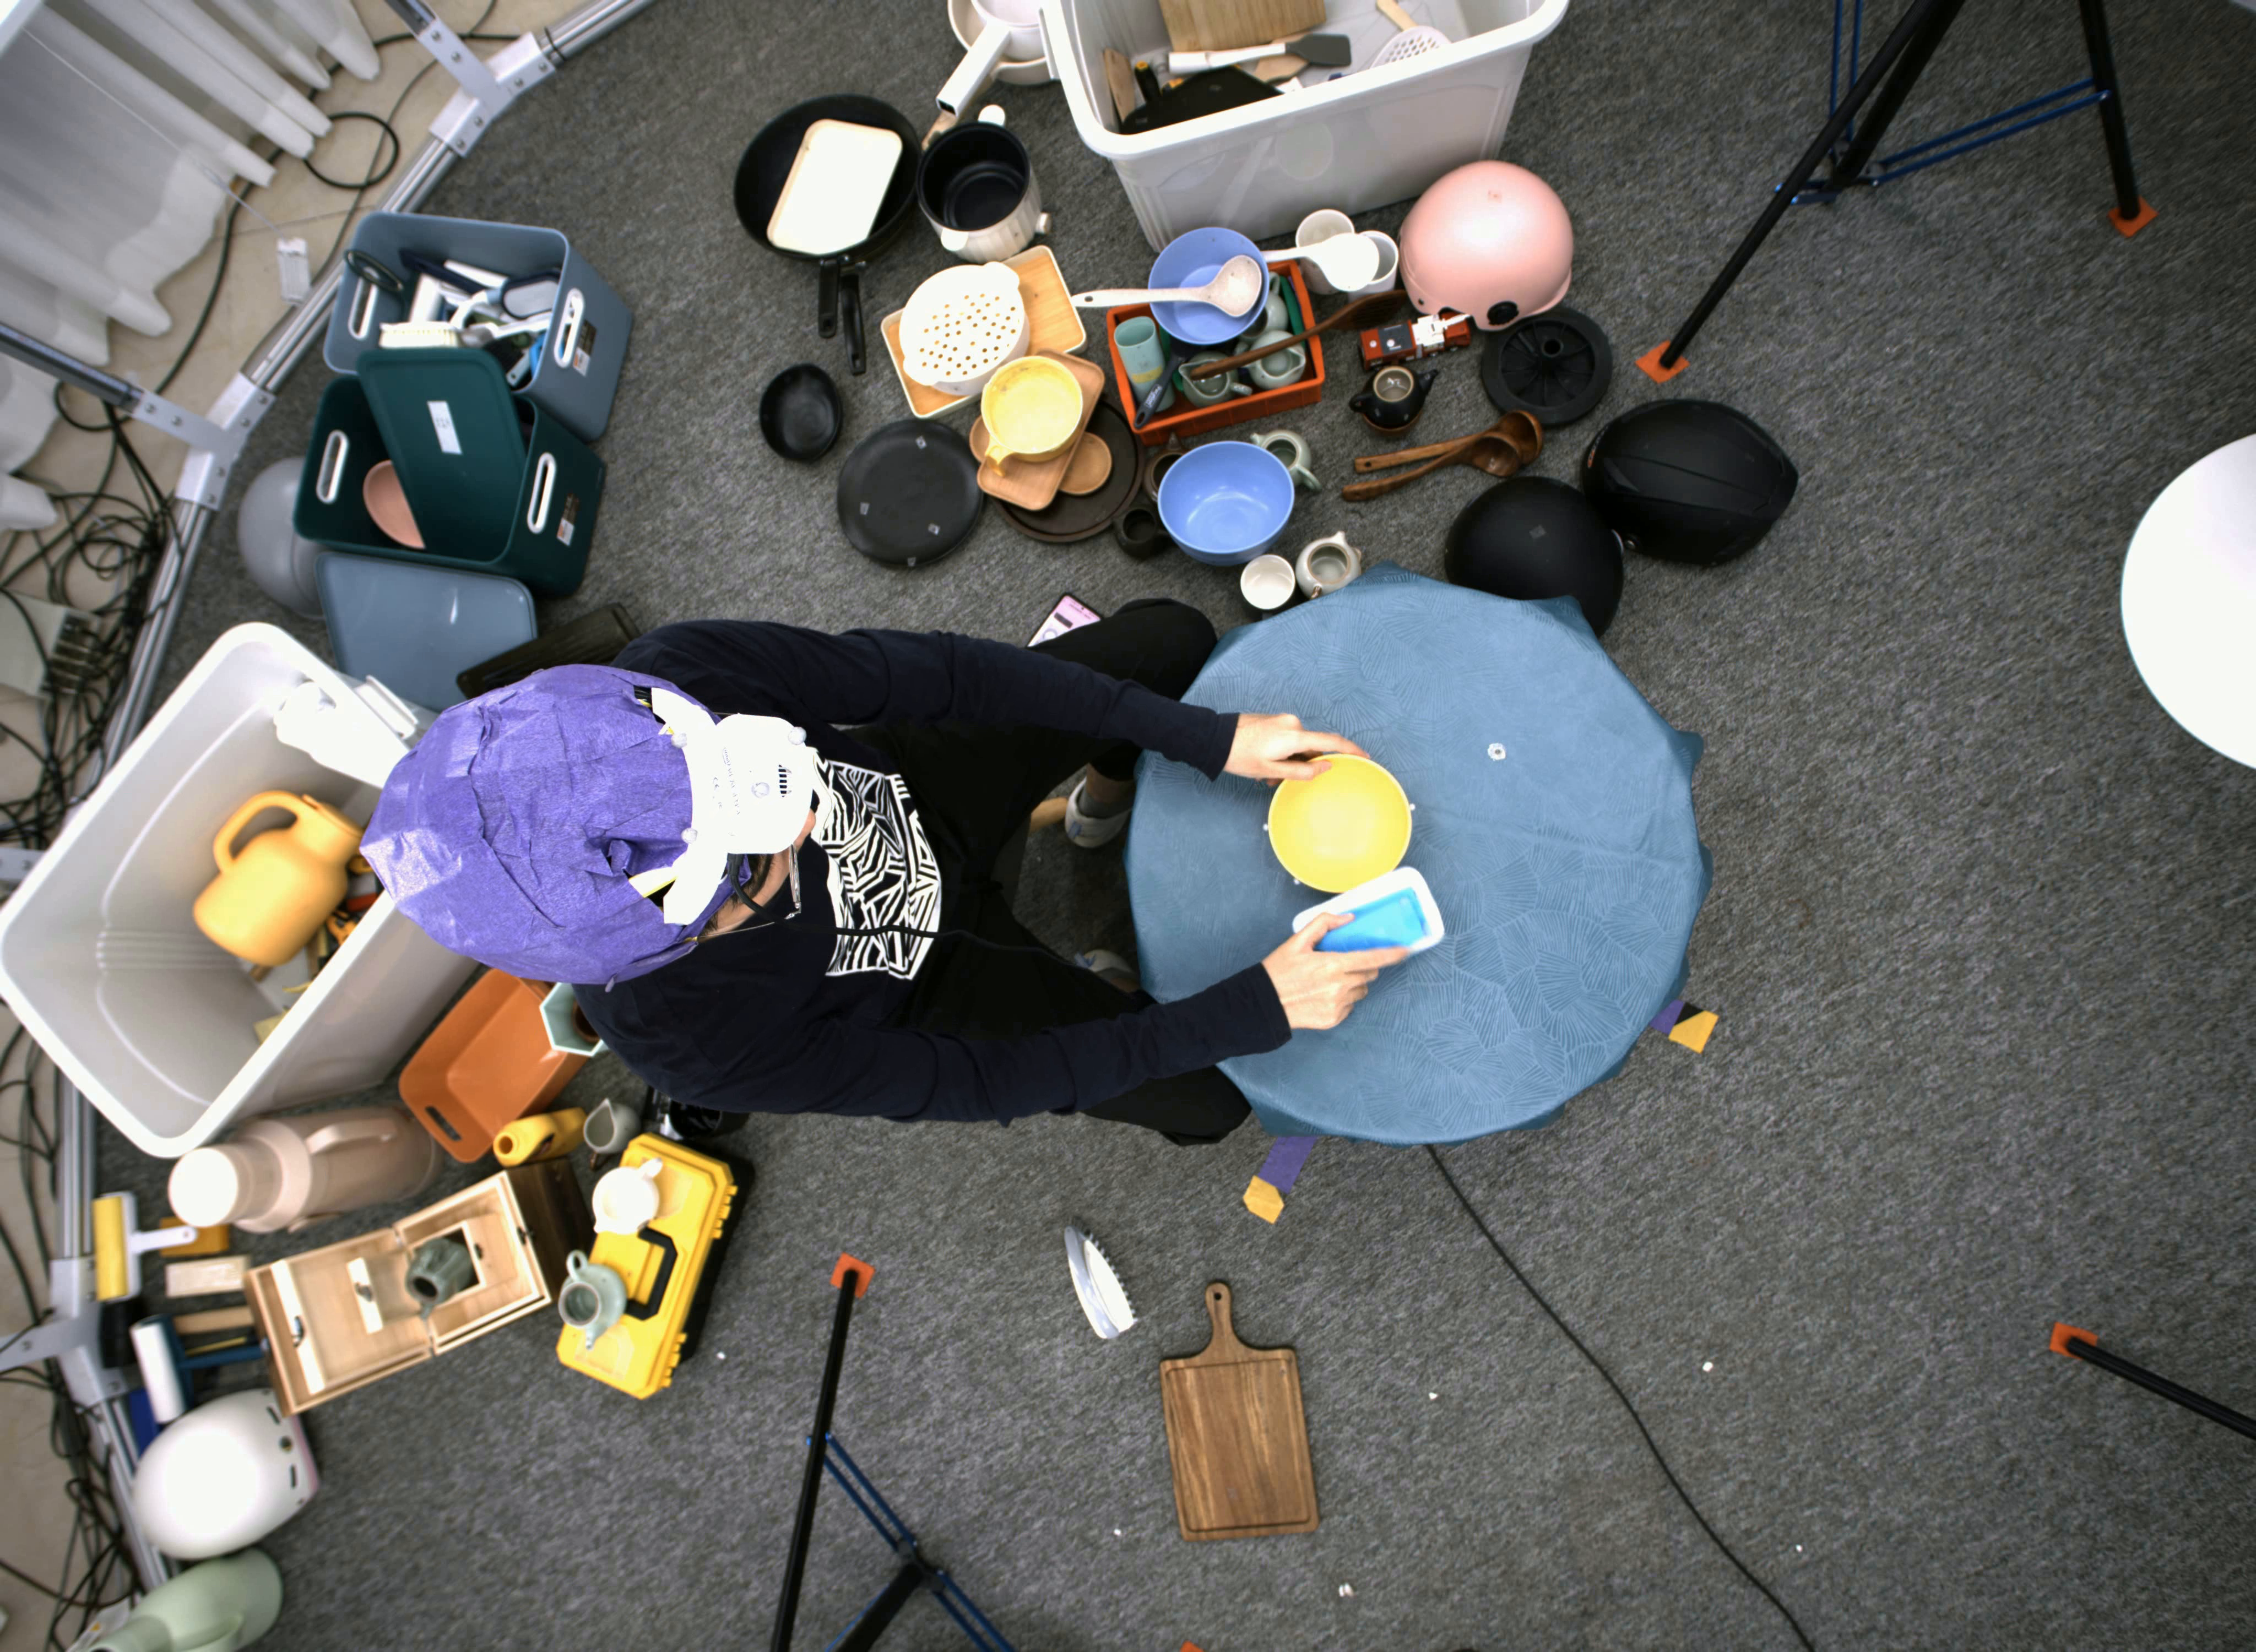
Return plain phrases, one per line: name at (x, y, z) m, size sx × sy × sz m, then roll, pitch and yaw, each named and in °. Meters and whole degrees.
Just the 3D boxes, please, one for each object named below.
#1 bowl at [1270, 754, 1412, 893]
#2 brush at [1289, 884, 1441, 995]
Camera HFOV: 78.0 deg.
bowl at (0.219, -0.006, 1.435) m, size 0.146 × 0.059 × 0.146 m, roll 1°, pitch 99°, yaw 6°
brush at (0.234, 0.113, 1.373) m, size 0.145 × 0.055 × 0.084 m, roll -20°, pitch 93°, yaw 11°
